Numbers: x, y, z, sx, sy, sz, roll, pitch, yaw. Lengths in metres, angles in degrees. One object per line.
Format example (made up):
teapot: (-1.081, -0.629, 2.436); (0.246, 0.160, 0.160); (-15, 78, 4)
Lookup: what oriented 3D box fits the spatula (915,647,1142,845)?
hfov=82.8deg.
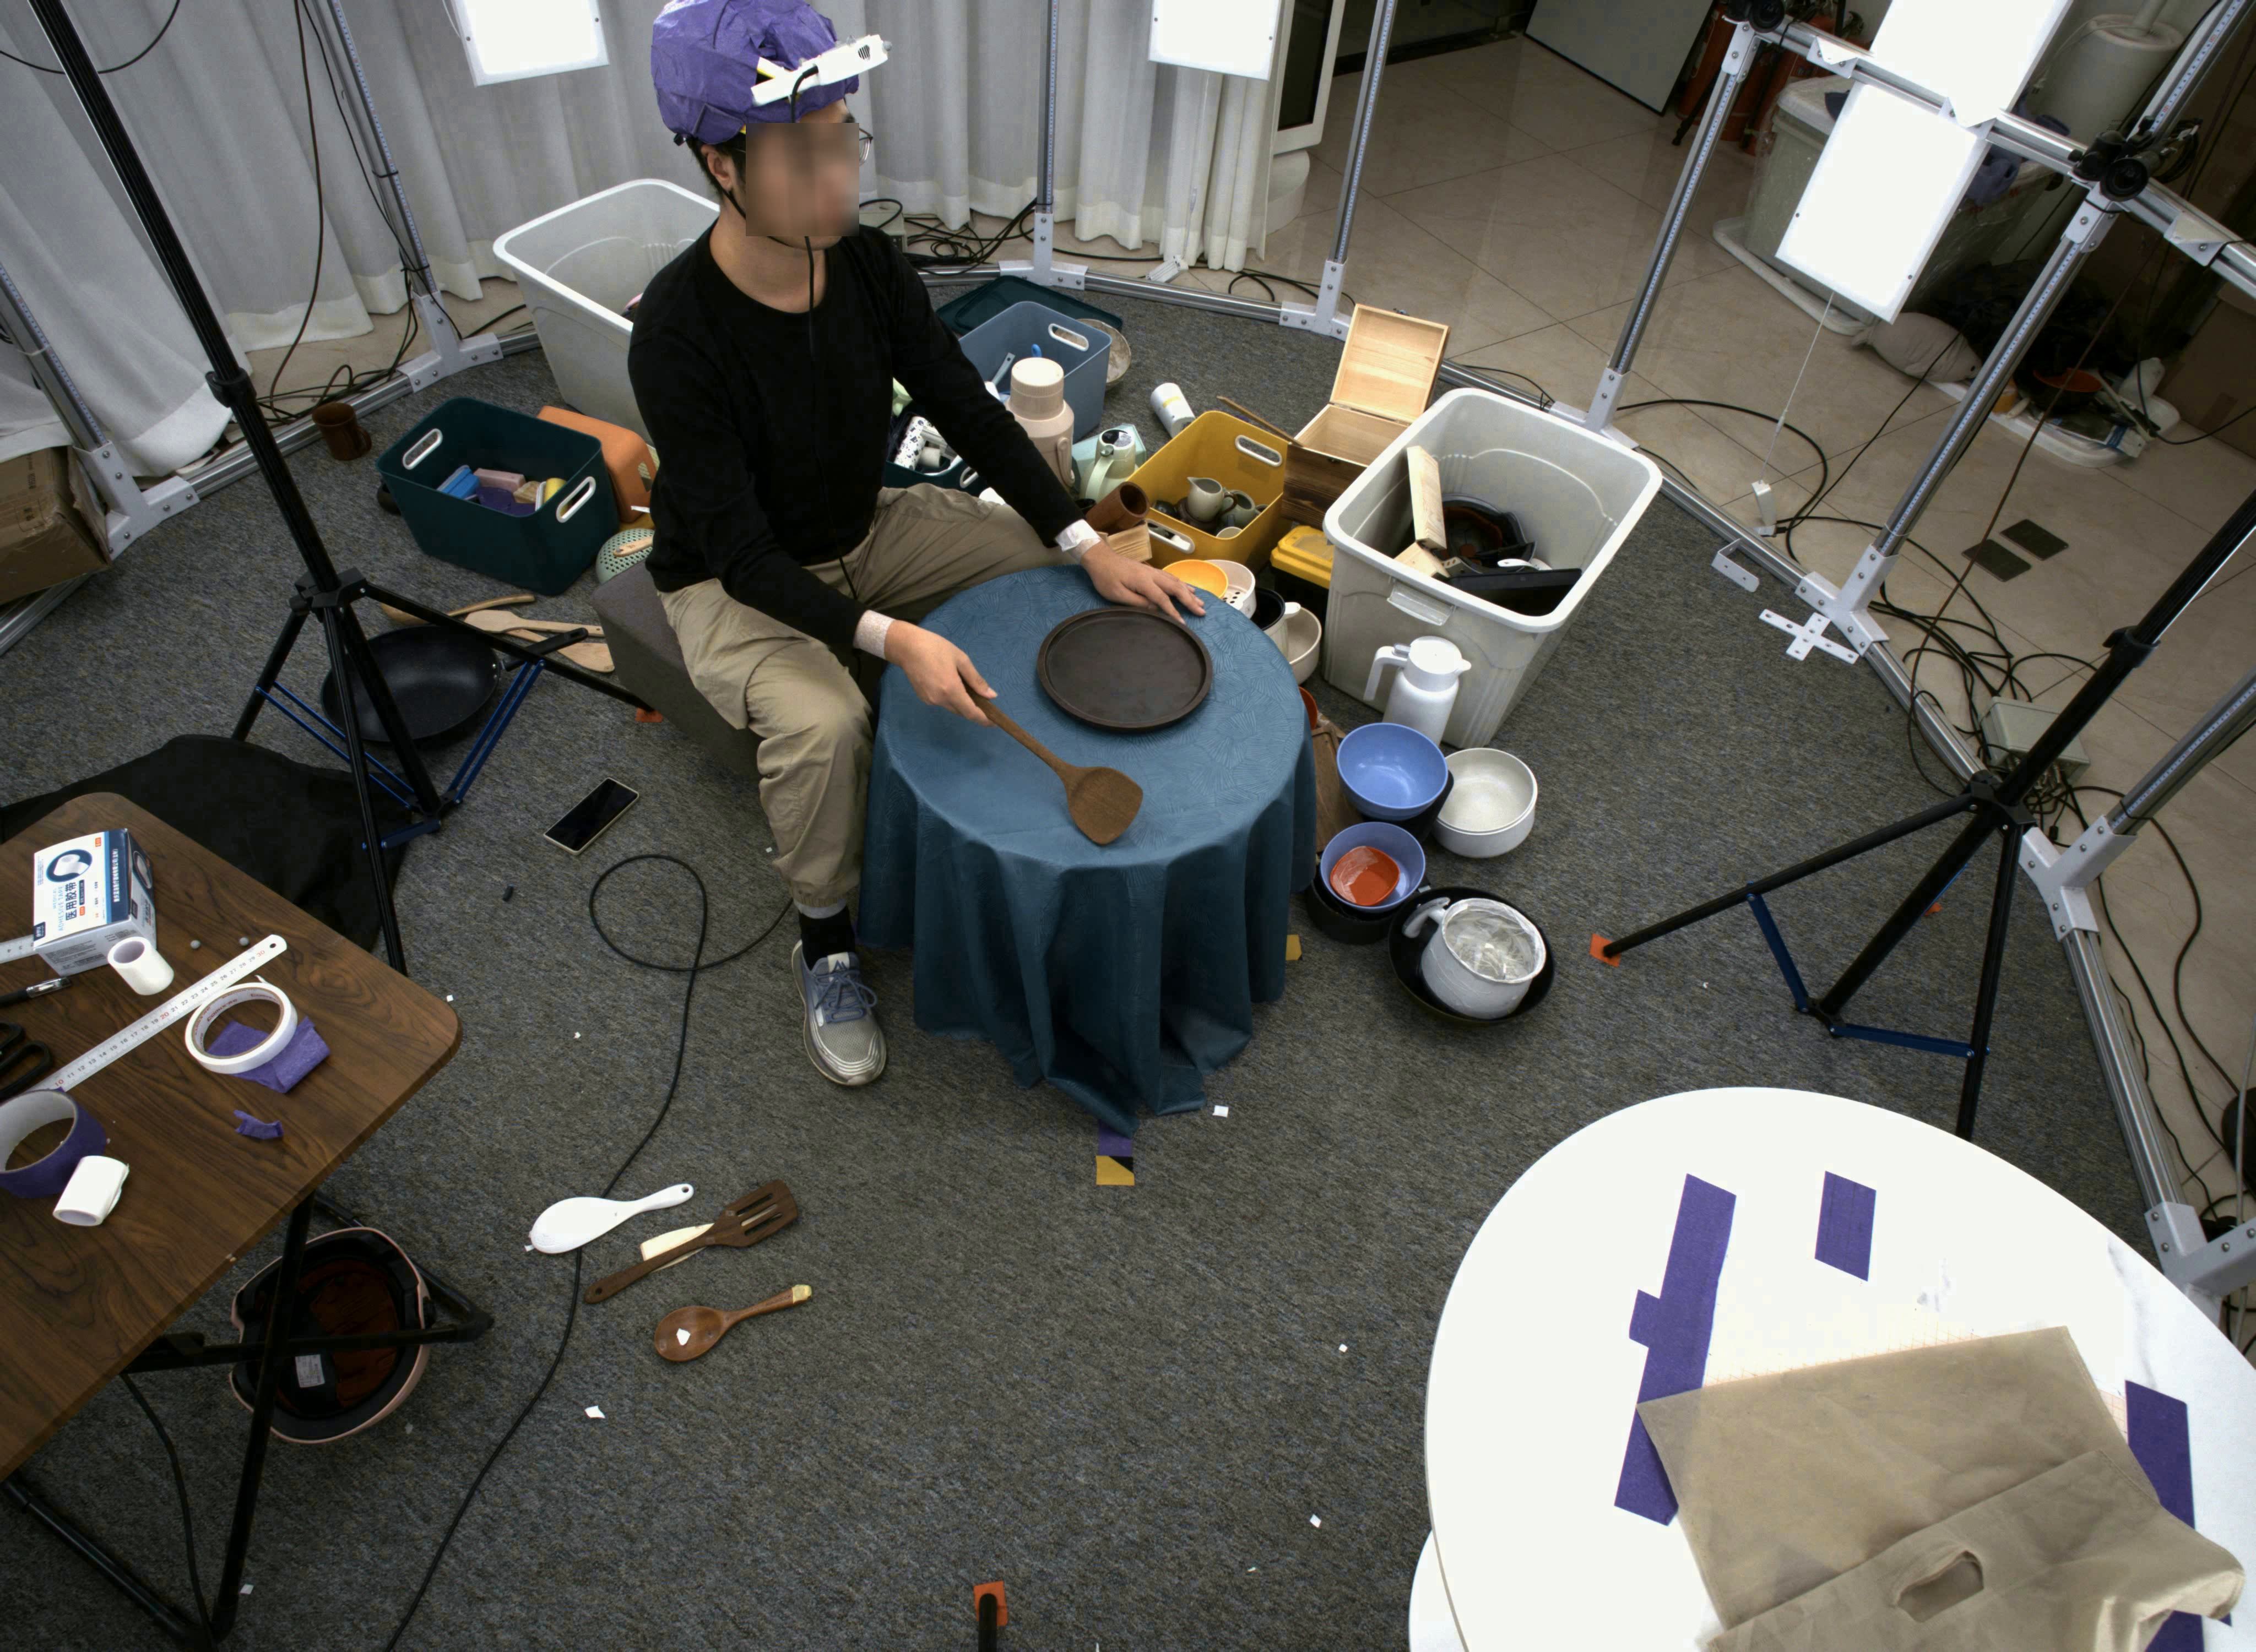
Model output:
spatula: (-0.143, -0.120, 1.693); (0.390, 0.015, 0.096); (39, 97, 16)

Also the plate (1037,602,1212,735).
plate: (-0.005, -0.226, 1.851); (0.254, 0.028, 0.261); (2, 51, -2)
